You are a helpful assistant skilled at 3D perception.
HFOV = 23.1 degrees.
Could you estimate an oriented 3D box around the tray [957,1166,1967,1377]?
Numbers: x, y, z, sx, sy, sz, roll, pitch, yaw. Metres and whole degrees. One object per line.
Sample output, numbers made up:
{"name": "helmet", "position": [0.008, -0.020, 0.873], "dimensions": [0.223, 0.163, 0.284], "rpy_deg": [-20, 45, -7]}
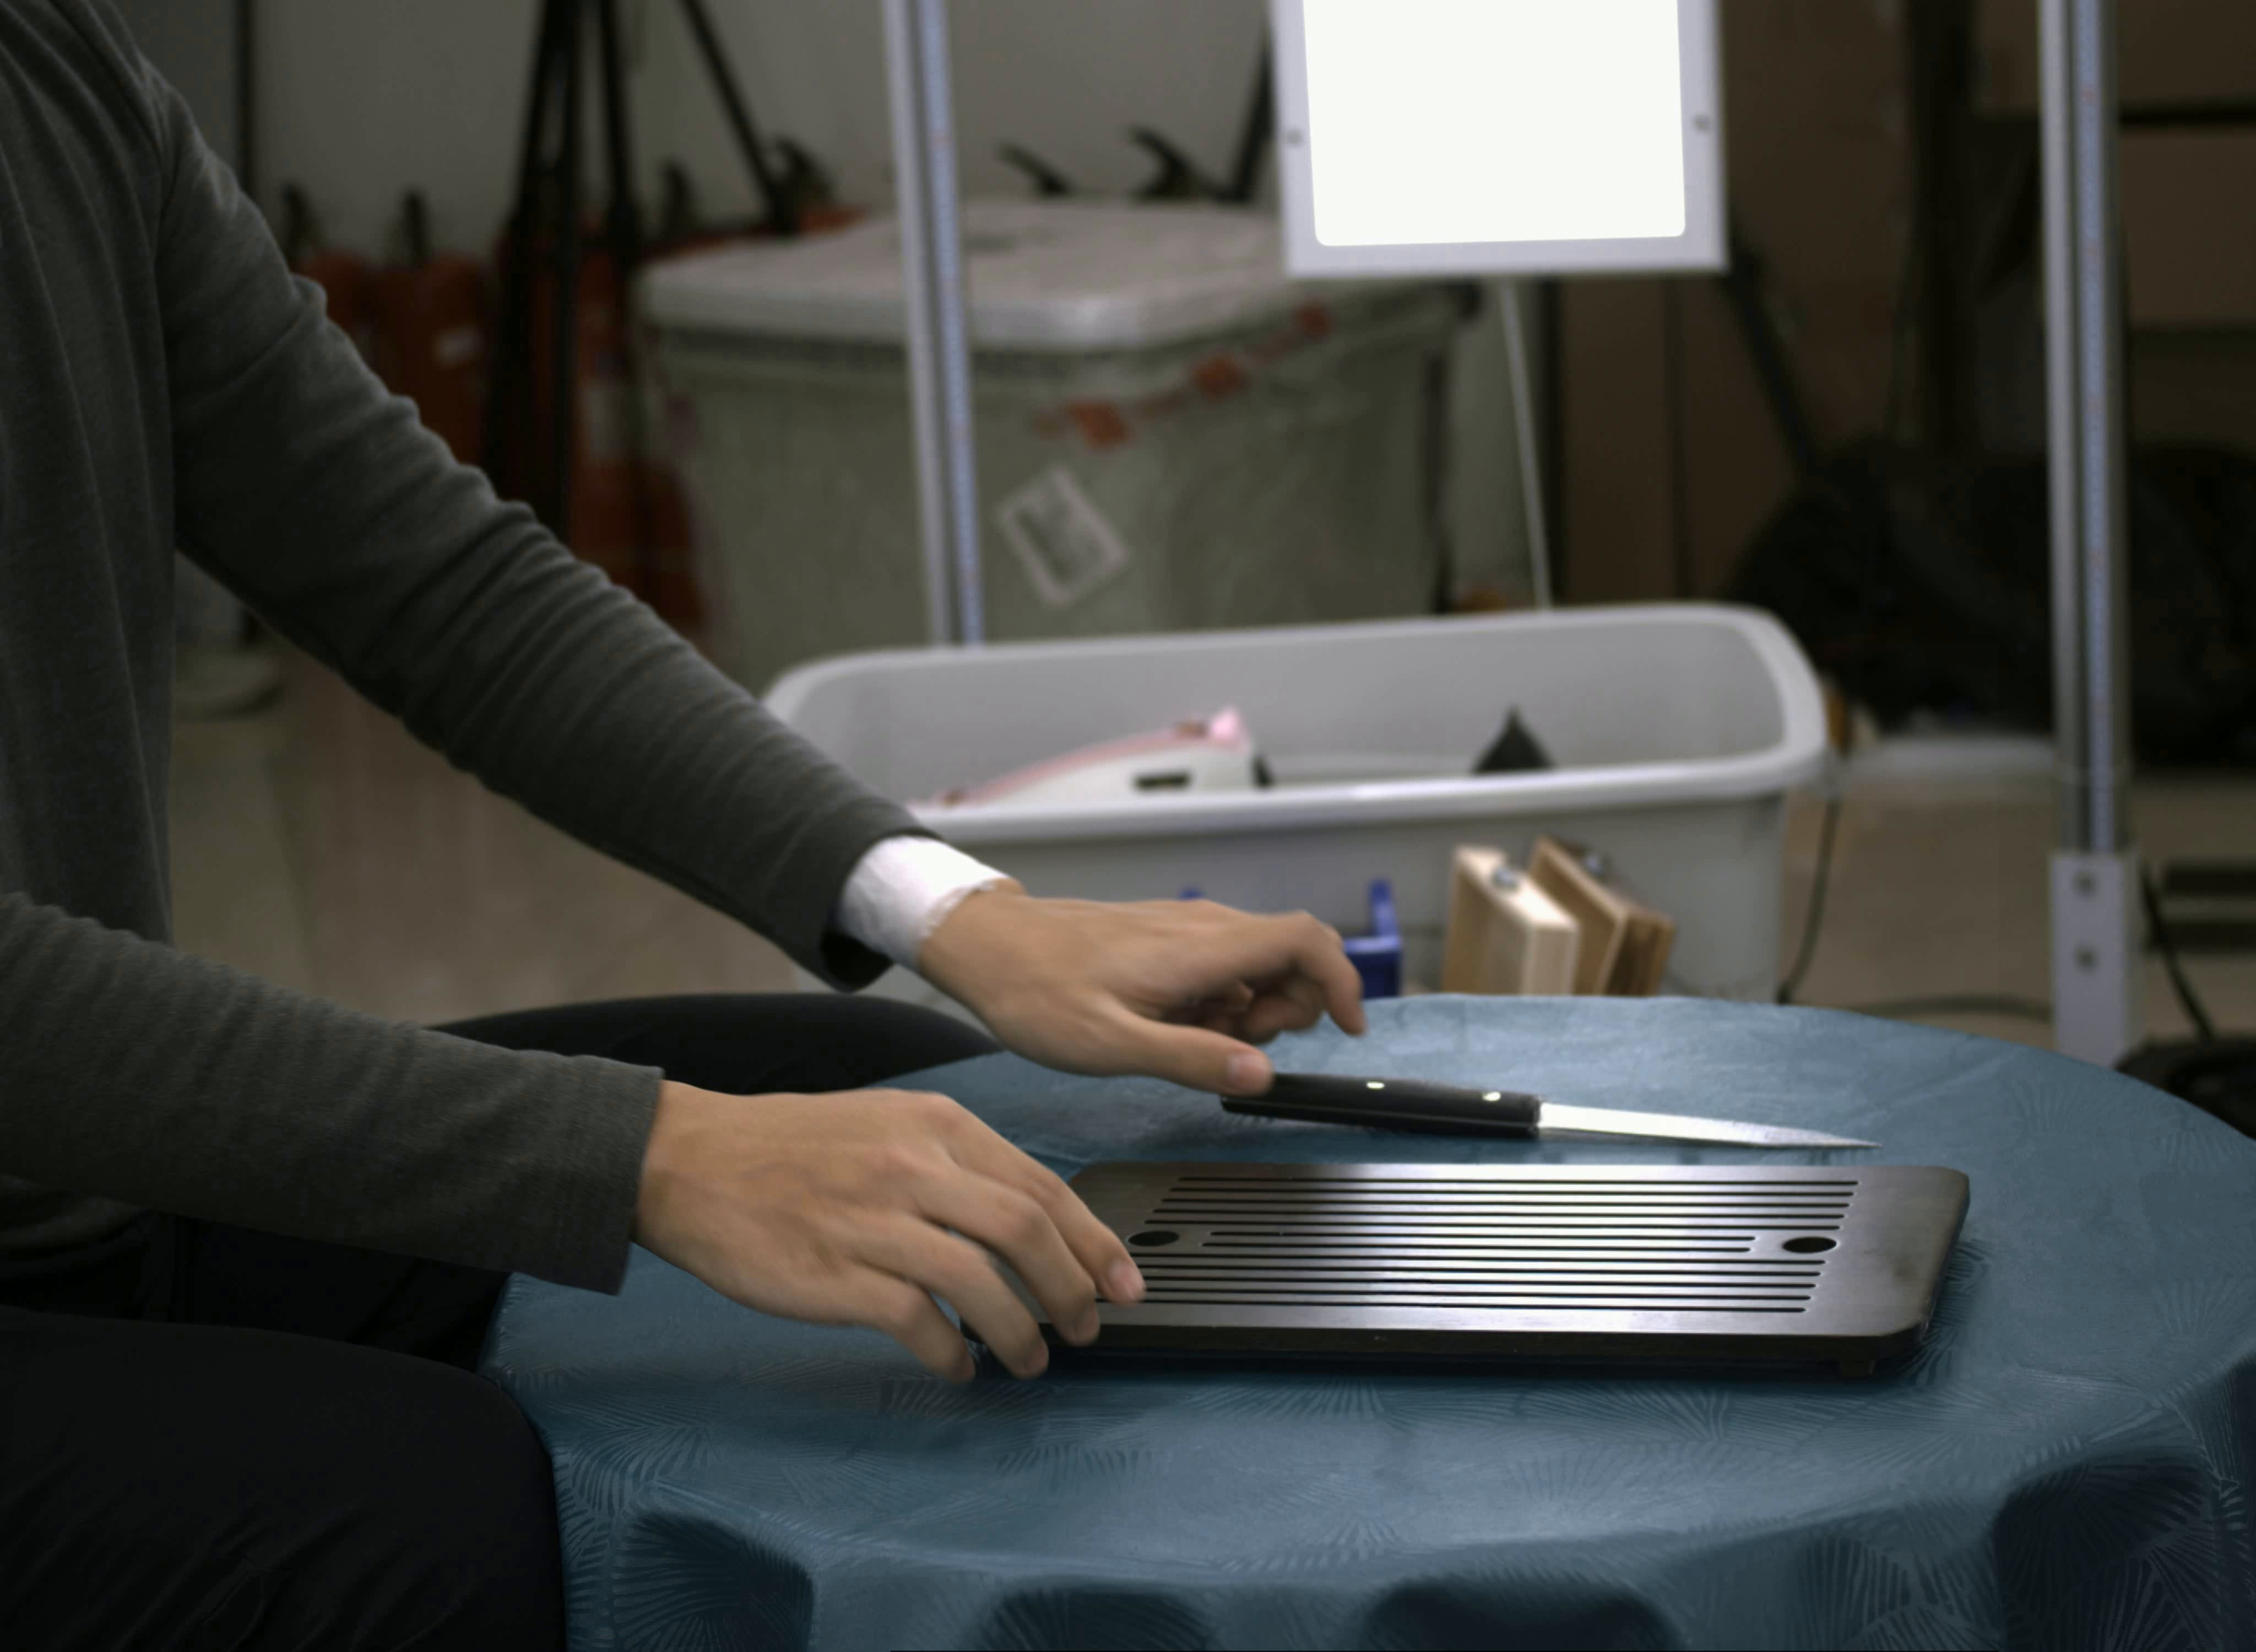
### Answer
{"name": "tray", "position": [0.111, 0.142, 1.762], "dimensions": [0.309, 0.019, 0.167], "rpy_deg": [-1, 14, 17]}

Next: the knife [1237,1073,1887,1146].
{"name": "knife", "position": [0.149, 0.102, 1.924], "dimensions": [0.241, 0.016, 0.024], "rpy_deg": [3, 17, 22]}
